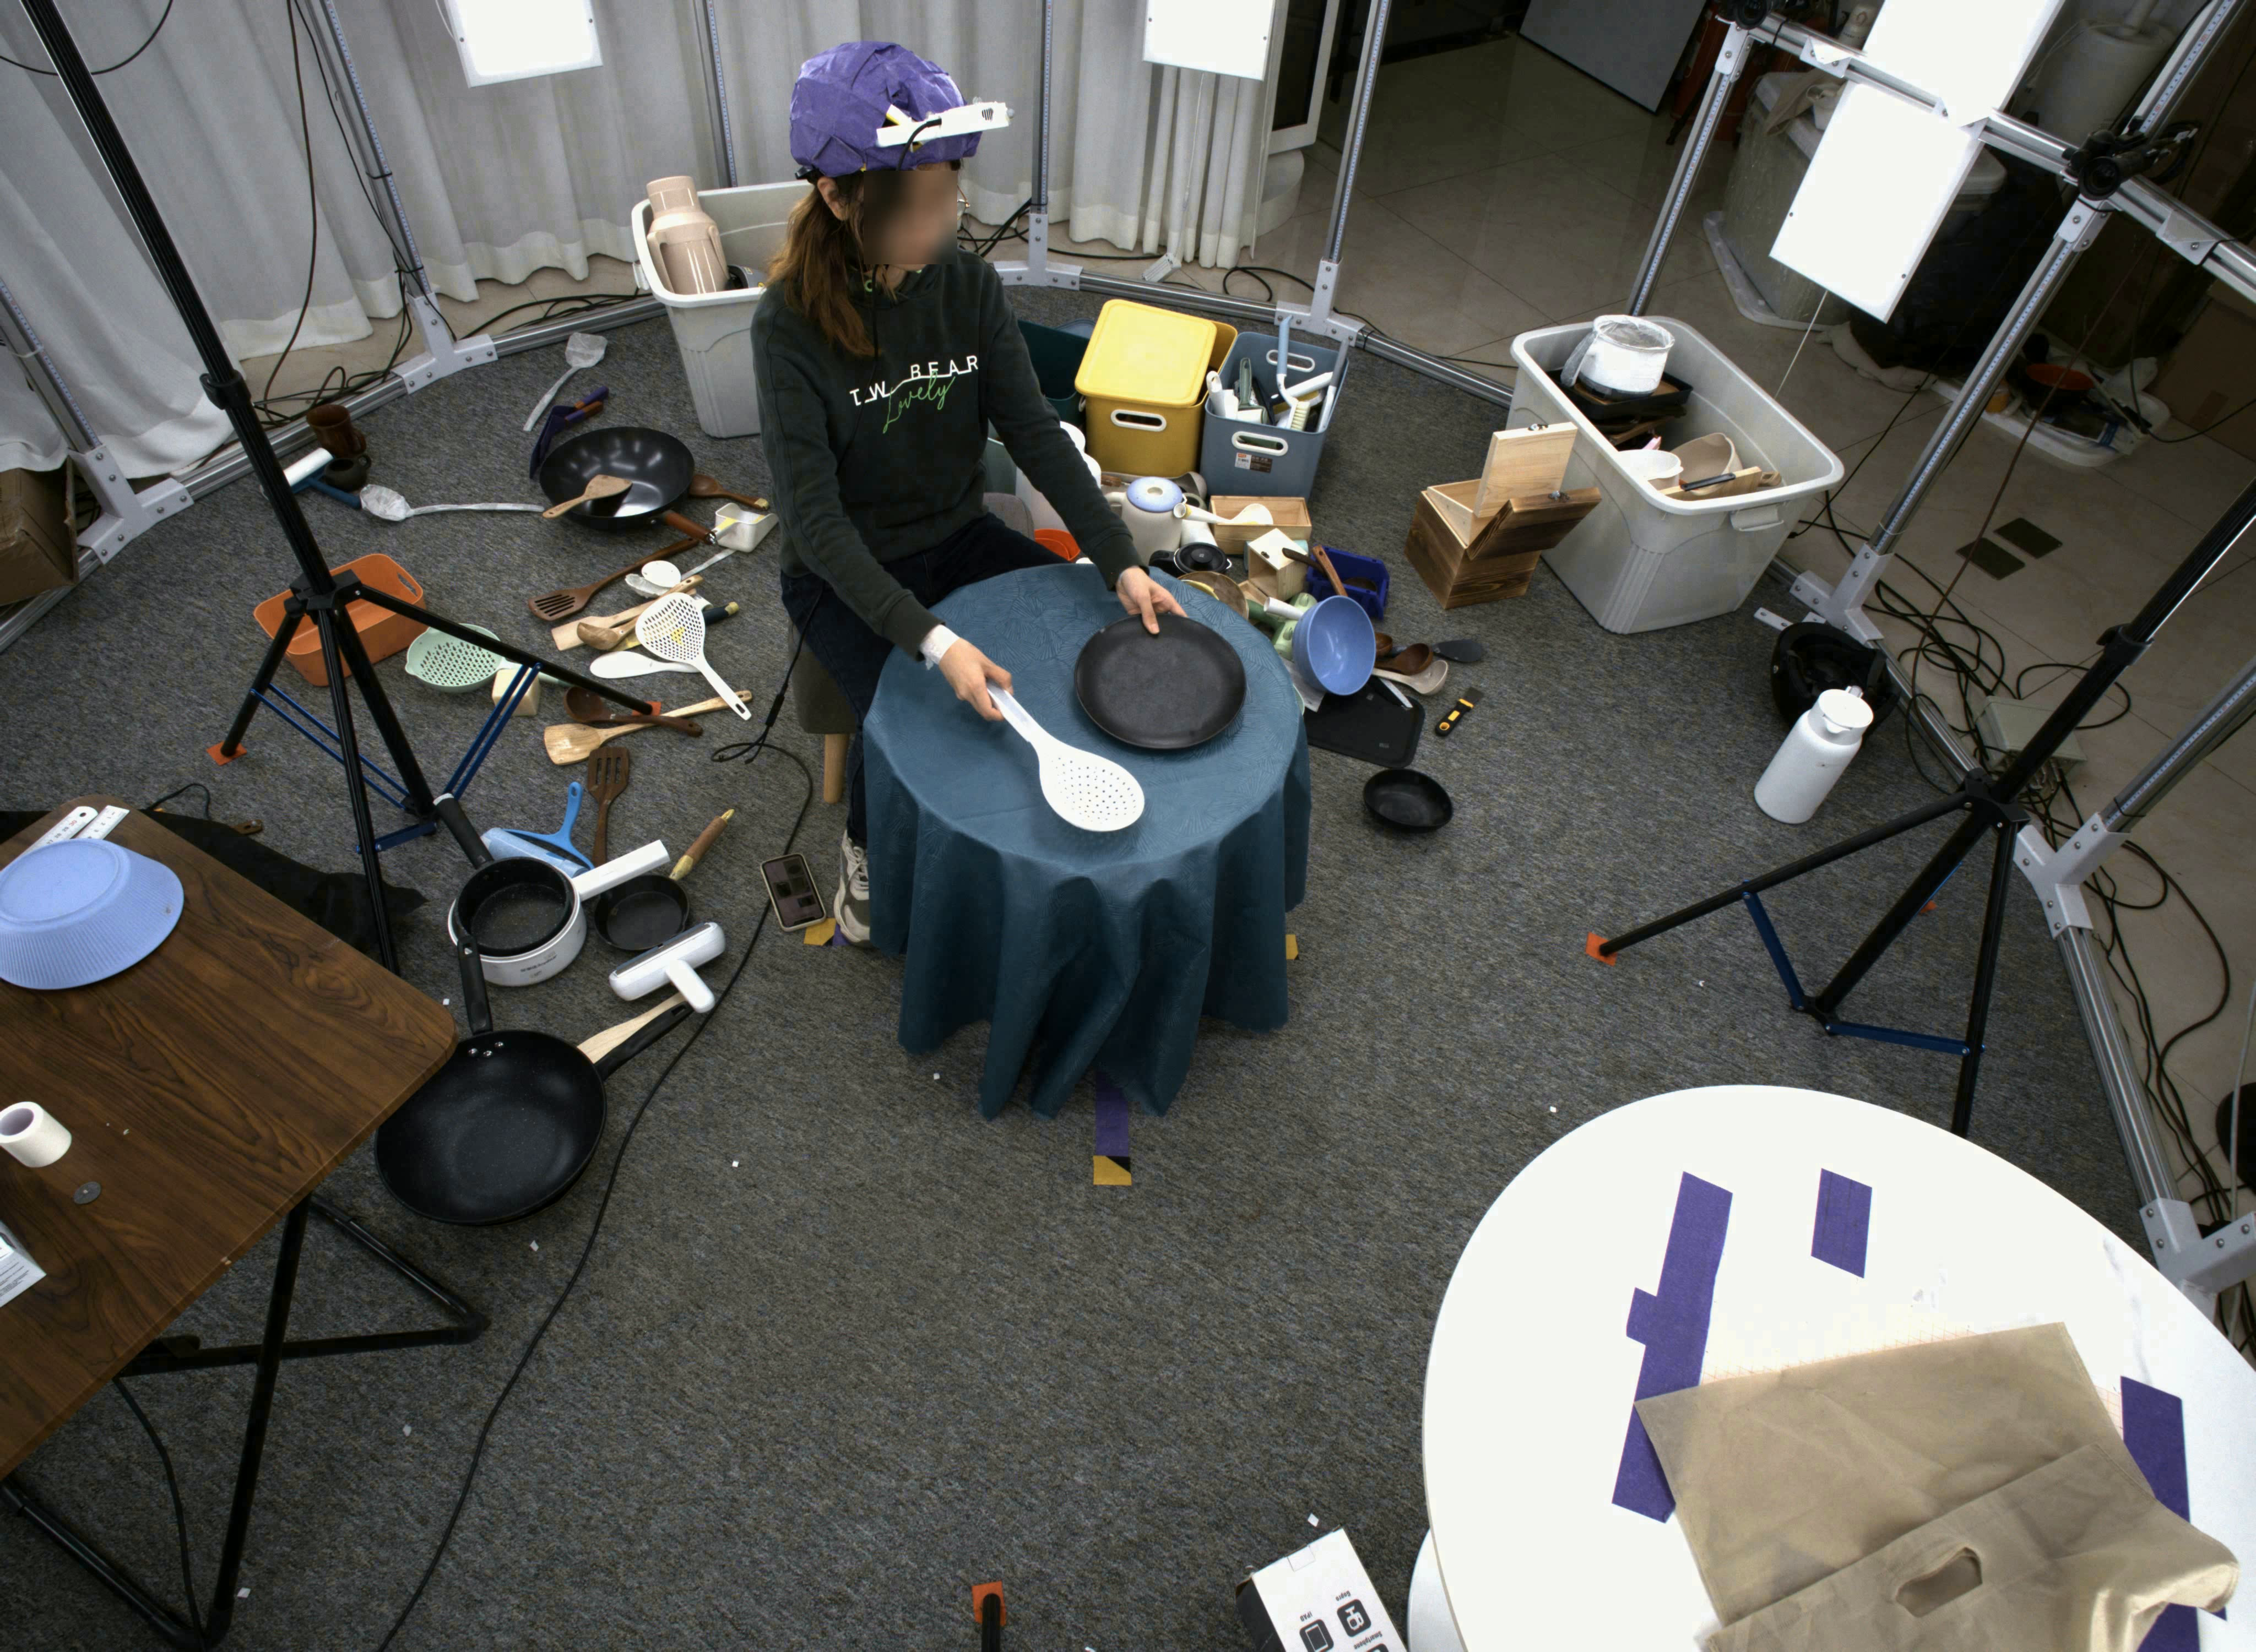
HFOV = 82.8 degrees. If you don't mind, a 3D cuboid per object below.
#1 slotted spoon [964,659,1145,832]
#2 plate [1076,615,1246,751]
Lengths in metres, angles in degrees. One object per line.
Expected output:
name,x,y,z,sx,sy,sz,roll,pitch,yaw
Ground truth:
slotted spoon,-0.113,-0.111,1.717,0.136,0.045,0.355,-21,61,-37
plate,0.047,-0.203,1.834,0.244,0.023,0.250,1,56,-2
